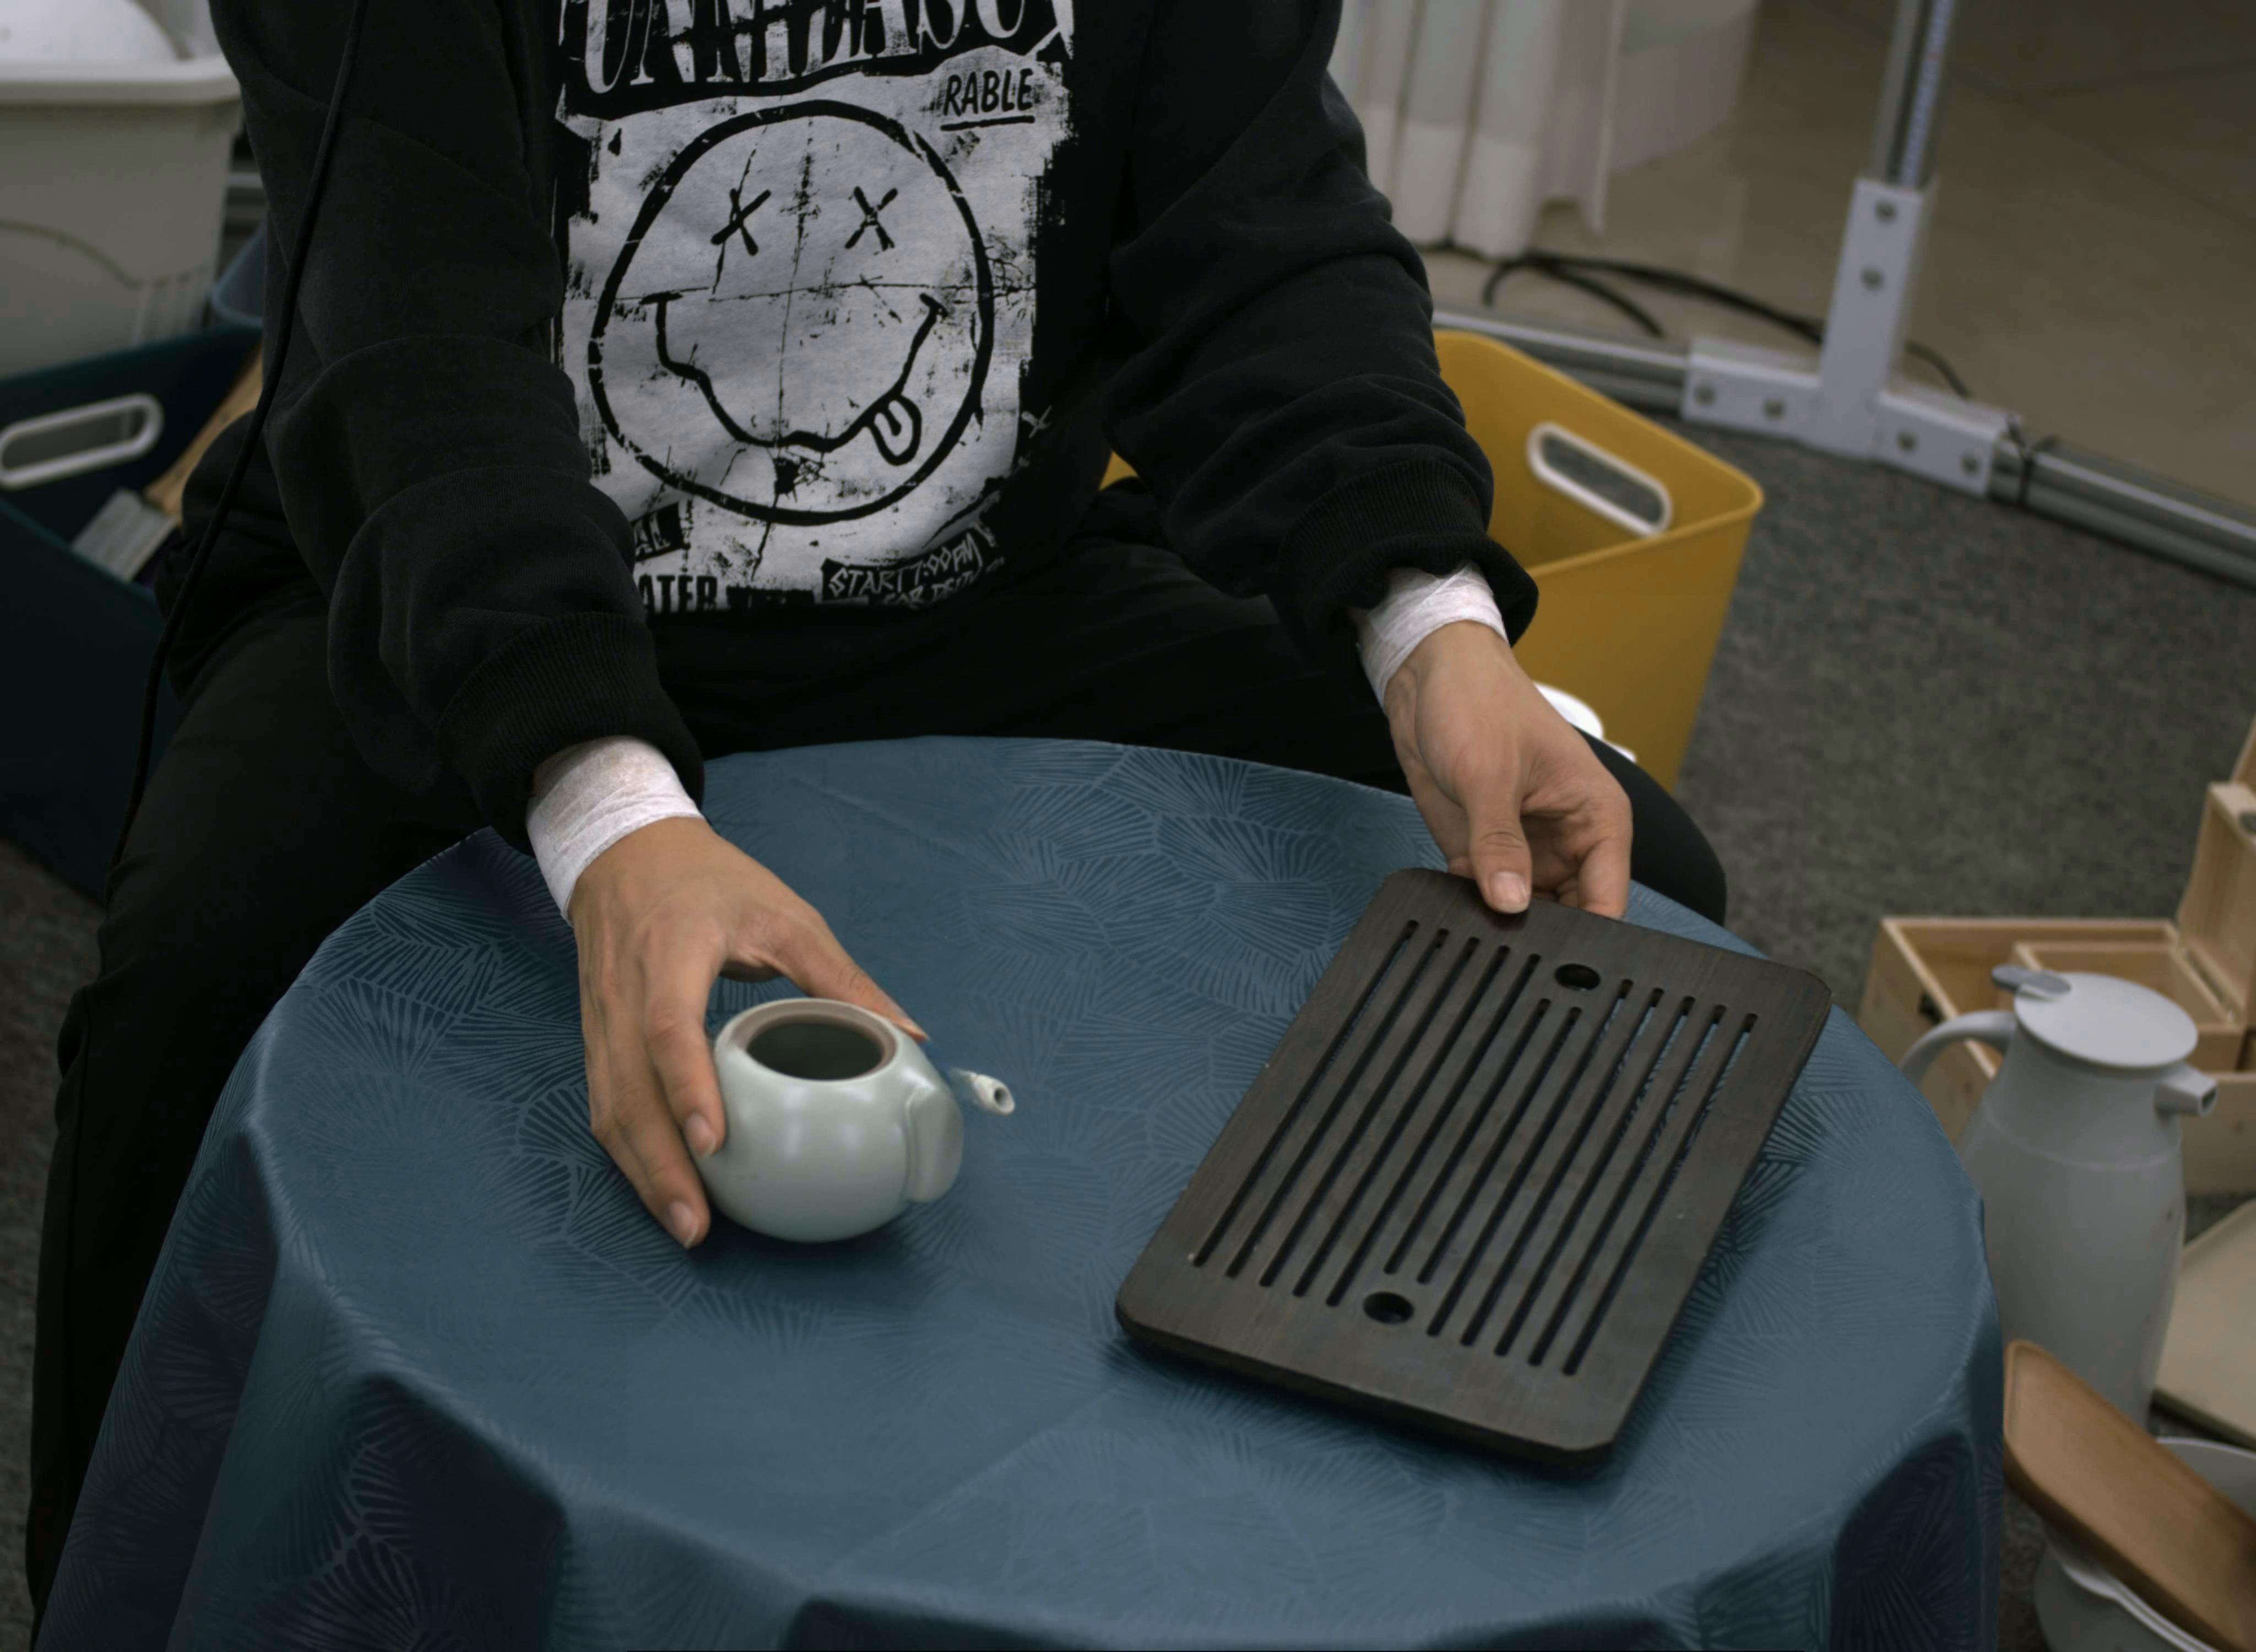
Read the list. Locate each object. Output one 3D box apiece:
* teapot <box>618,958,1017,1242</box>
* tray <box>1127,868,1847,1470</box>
[{"bbox_3d":[-0.105,0.096,1.757,0.144,0.074,0.088,20,29,21],"label":"teapot"},{"bbox_3d":[0.128,0.112,1.809,0.170,0.018,0.306,15,33,16],"label":"tray"}]
